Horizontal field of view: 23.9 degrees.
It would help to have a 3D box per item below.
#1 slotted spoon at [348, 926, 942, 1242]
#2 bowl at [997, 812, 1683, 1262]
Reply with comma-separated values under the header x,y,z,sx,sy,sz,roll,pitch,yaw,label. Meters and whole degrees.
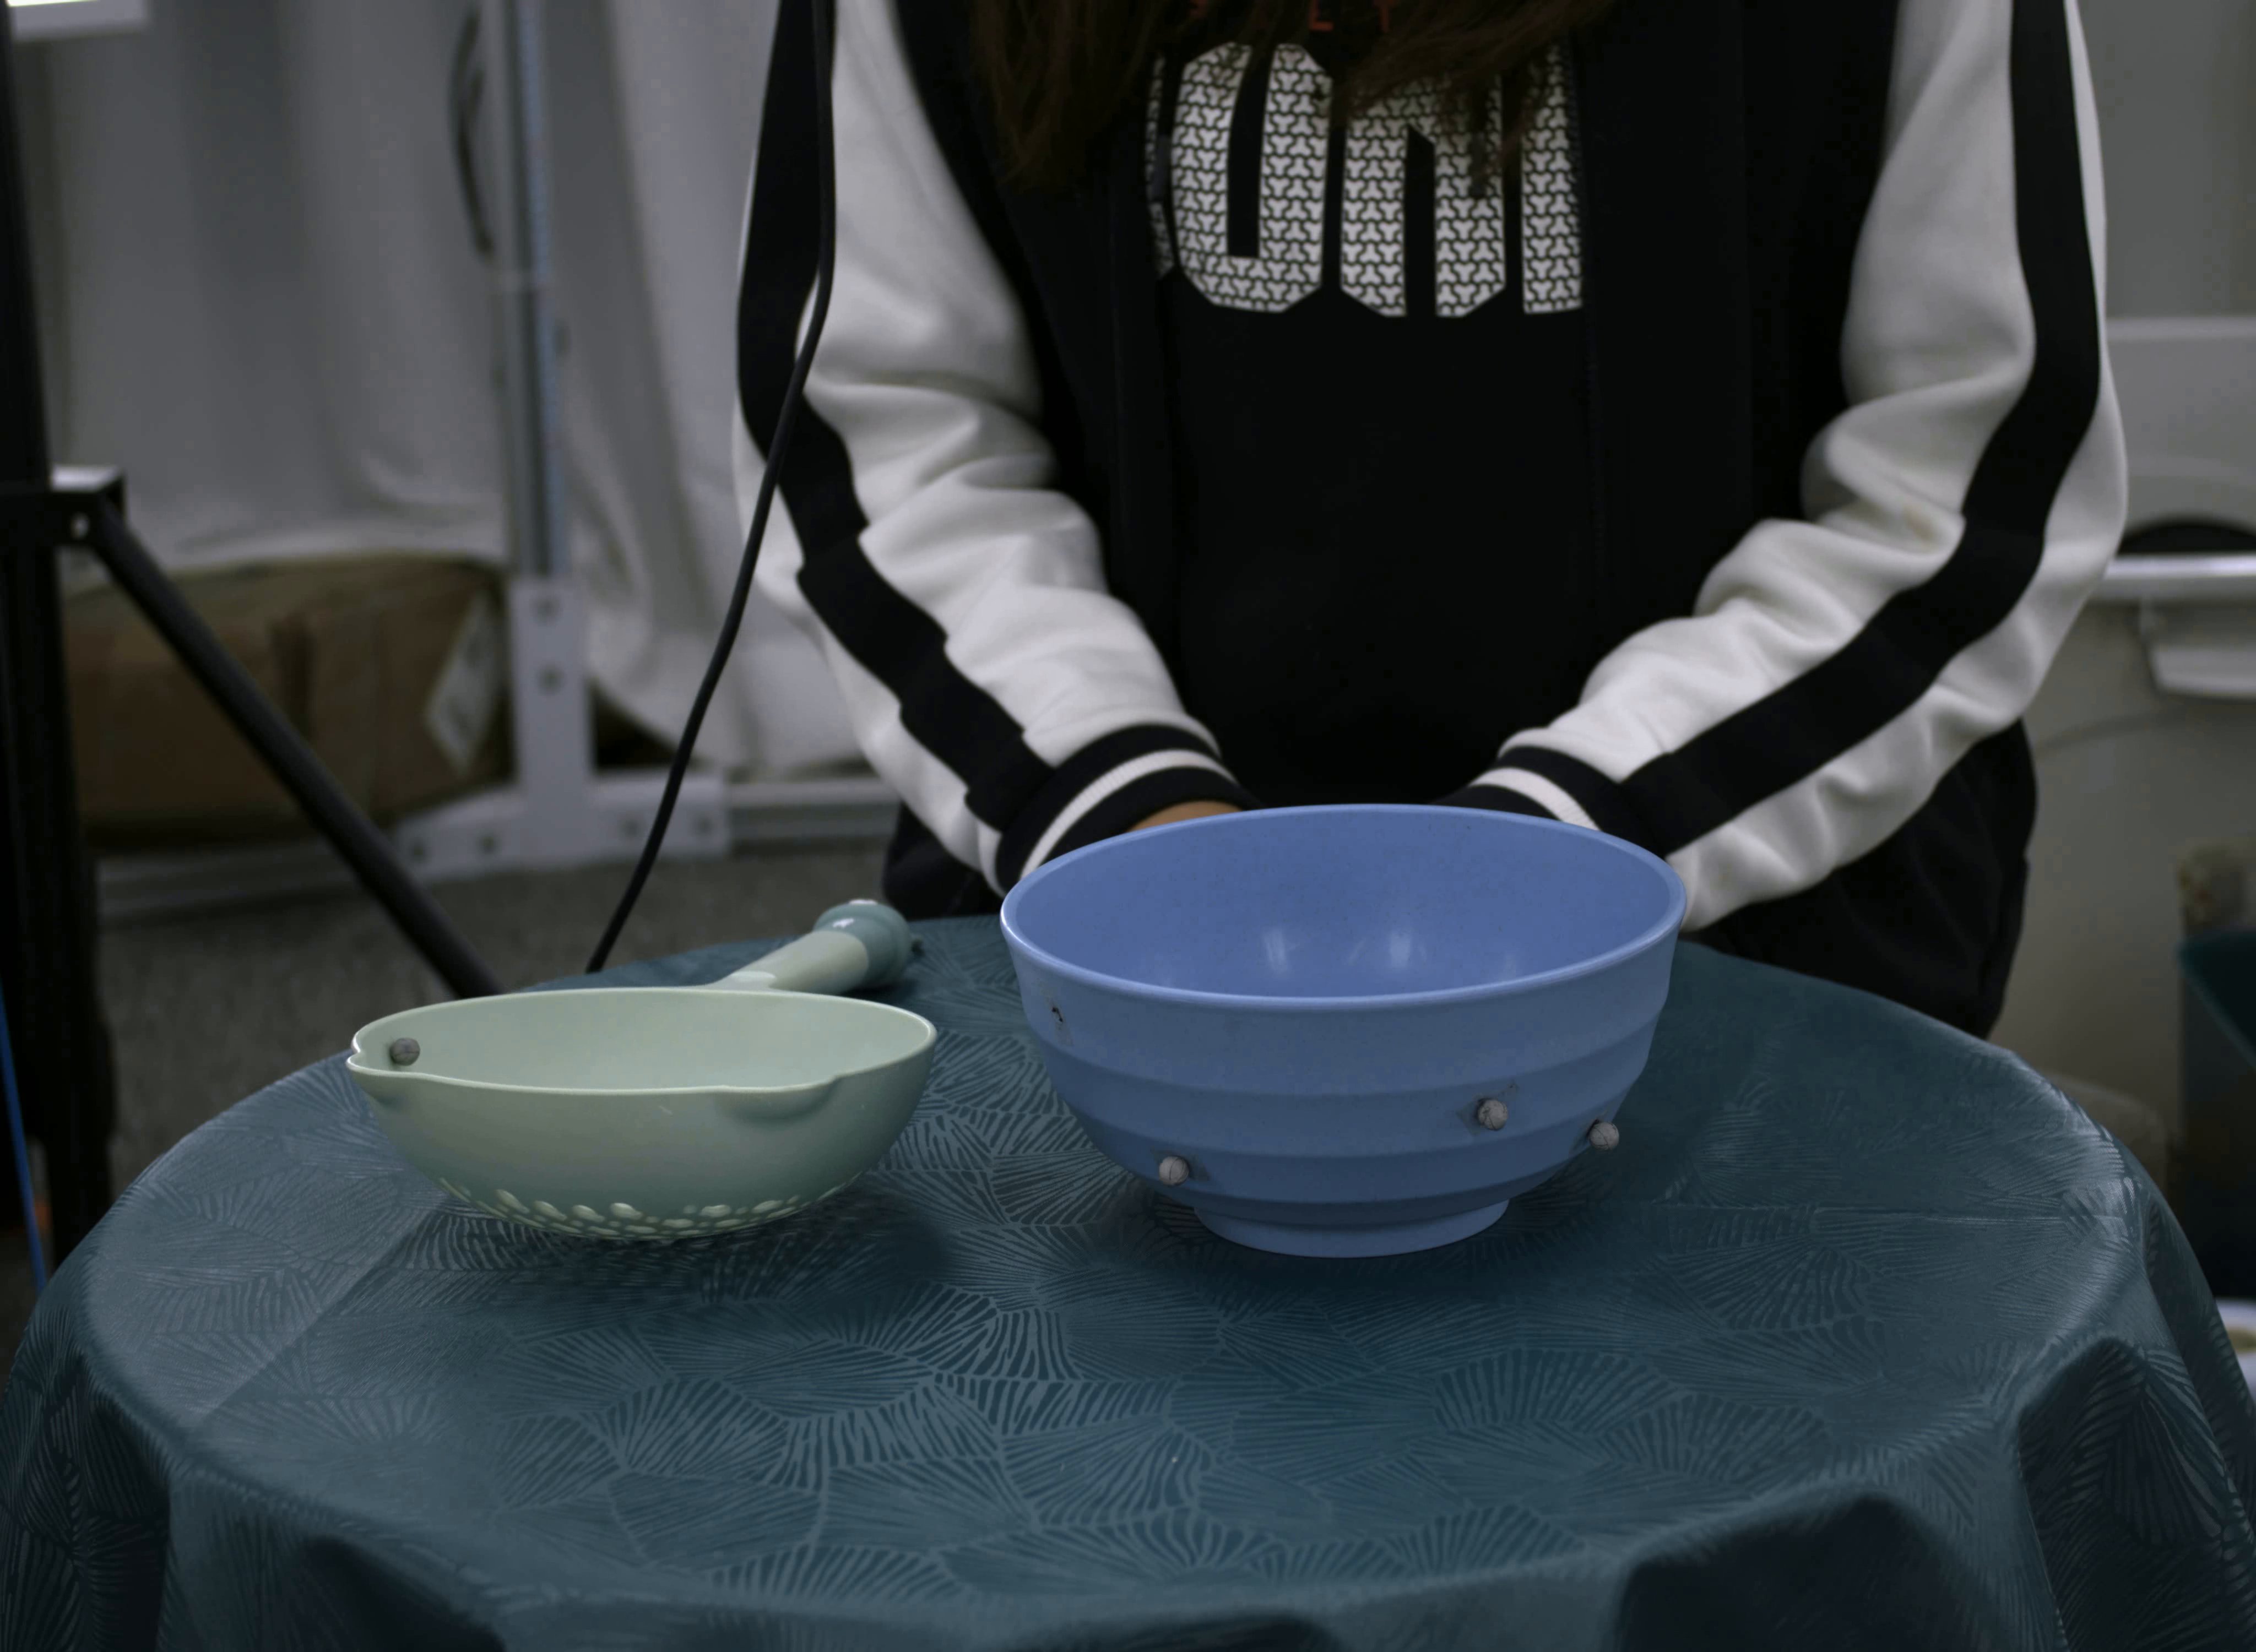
x,y,z,sx,sy,sz,roll,pitch,yaw,label
-0.117,0.063,1.631,0.170,0.075,0.356,3,15,13,slotted spoon
0.062,0.066,1.526,0.195,0.095,0.197,-3,15,-1,bowl
